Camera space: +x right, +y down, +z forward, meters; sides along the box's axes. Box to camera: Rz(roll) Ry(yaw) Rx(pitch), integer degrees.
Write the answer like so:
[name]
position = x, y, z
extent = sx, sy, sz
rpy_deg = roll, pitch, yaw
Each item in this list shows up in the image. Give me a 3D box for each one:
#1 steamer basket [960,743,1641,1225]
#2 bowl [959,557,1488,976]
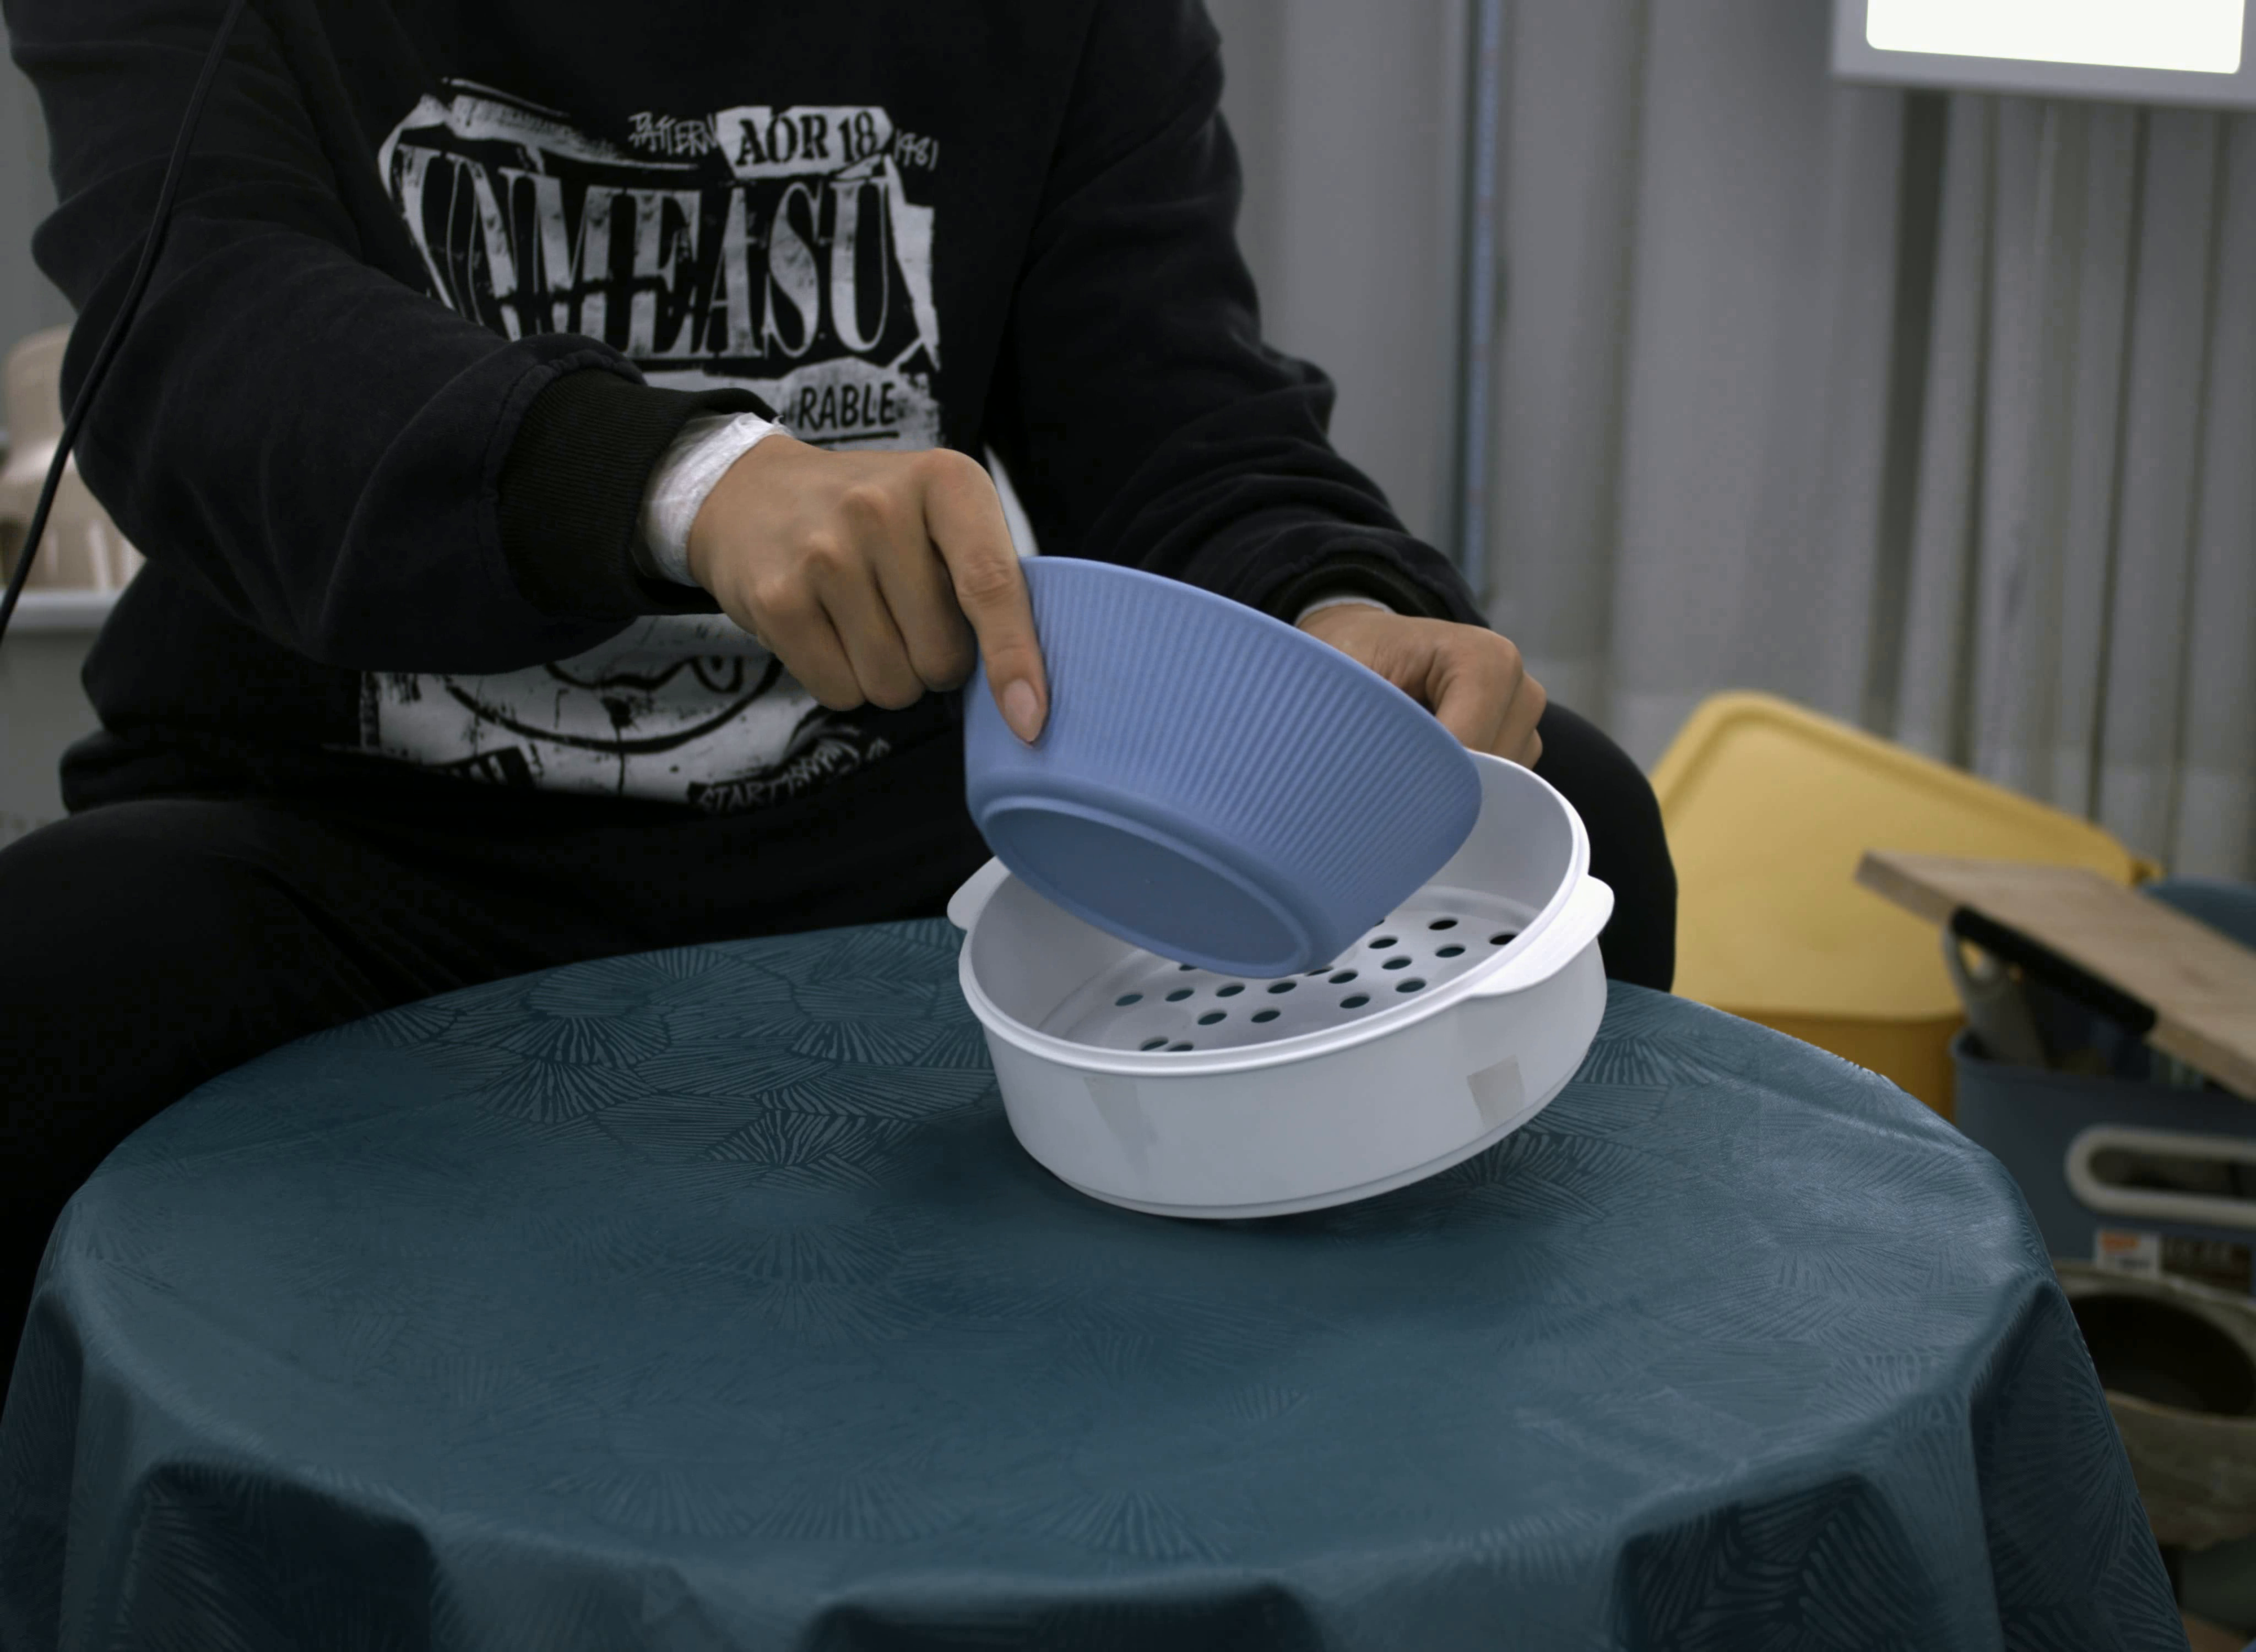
[steamer basket]
position = 0.056, 0.048, 1.651
extent = 0.228, 0.070, 0.202
rpy_deg = 9, 34, 33
[bowl]
position = 0.017, -0.010, 1.606
extent = 0.175, 0.070, 0.177
rpy_deg = 21, -18, 8
